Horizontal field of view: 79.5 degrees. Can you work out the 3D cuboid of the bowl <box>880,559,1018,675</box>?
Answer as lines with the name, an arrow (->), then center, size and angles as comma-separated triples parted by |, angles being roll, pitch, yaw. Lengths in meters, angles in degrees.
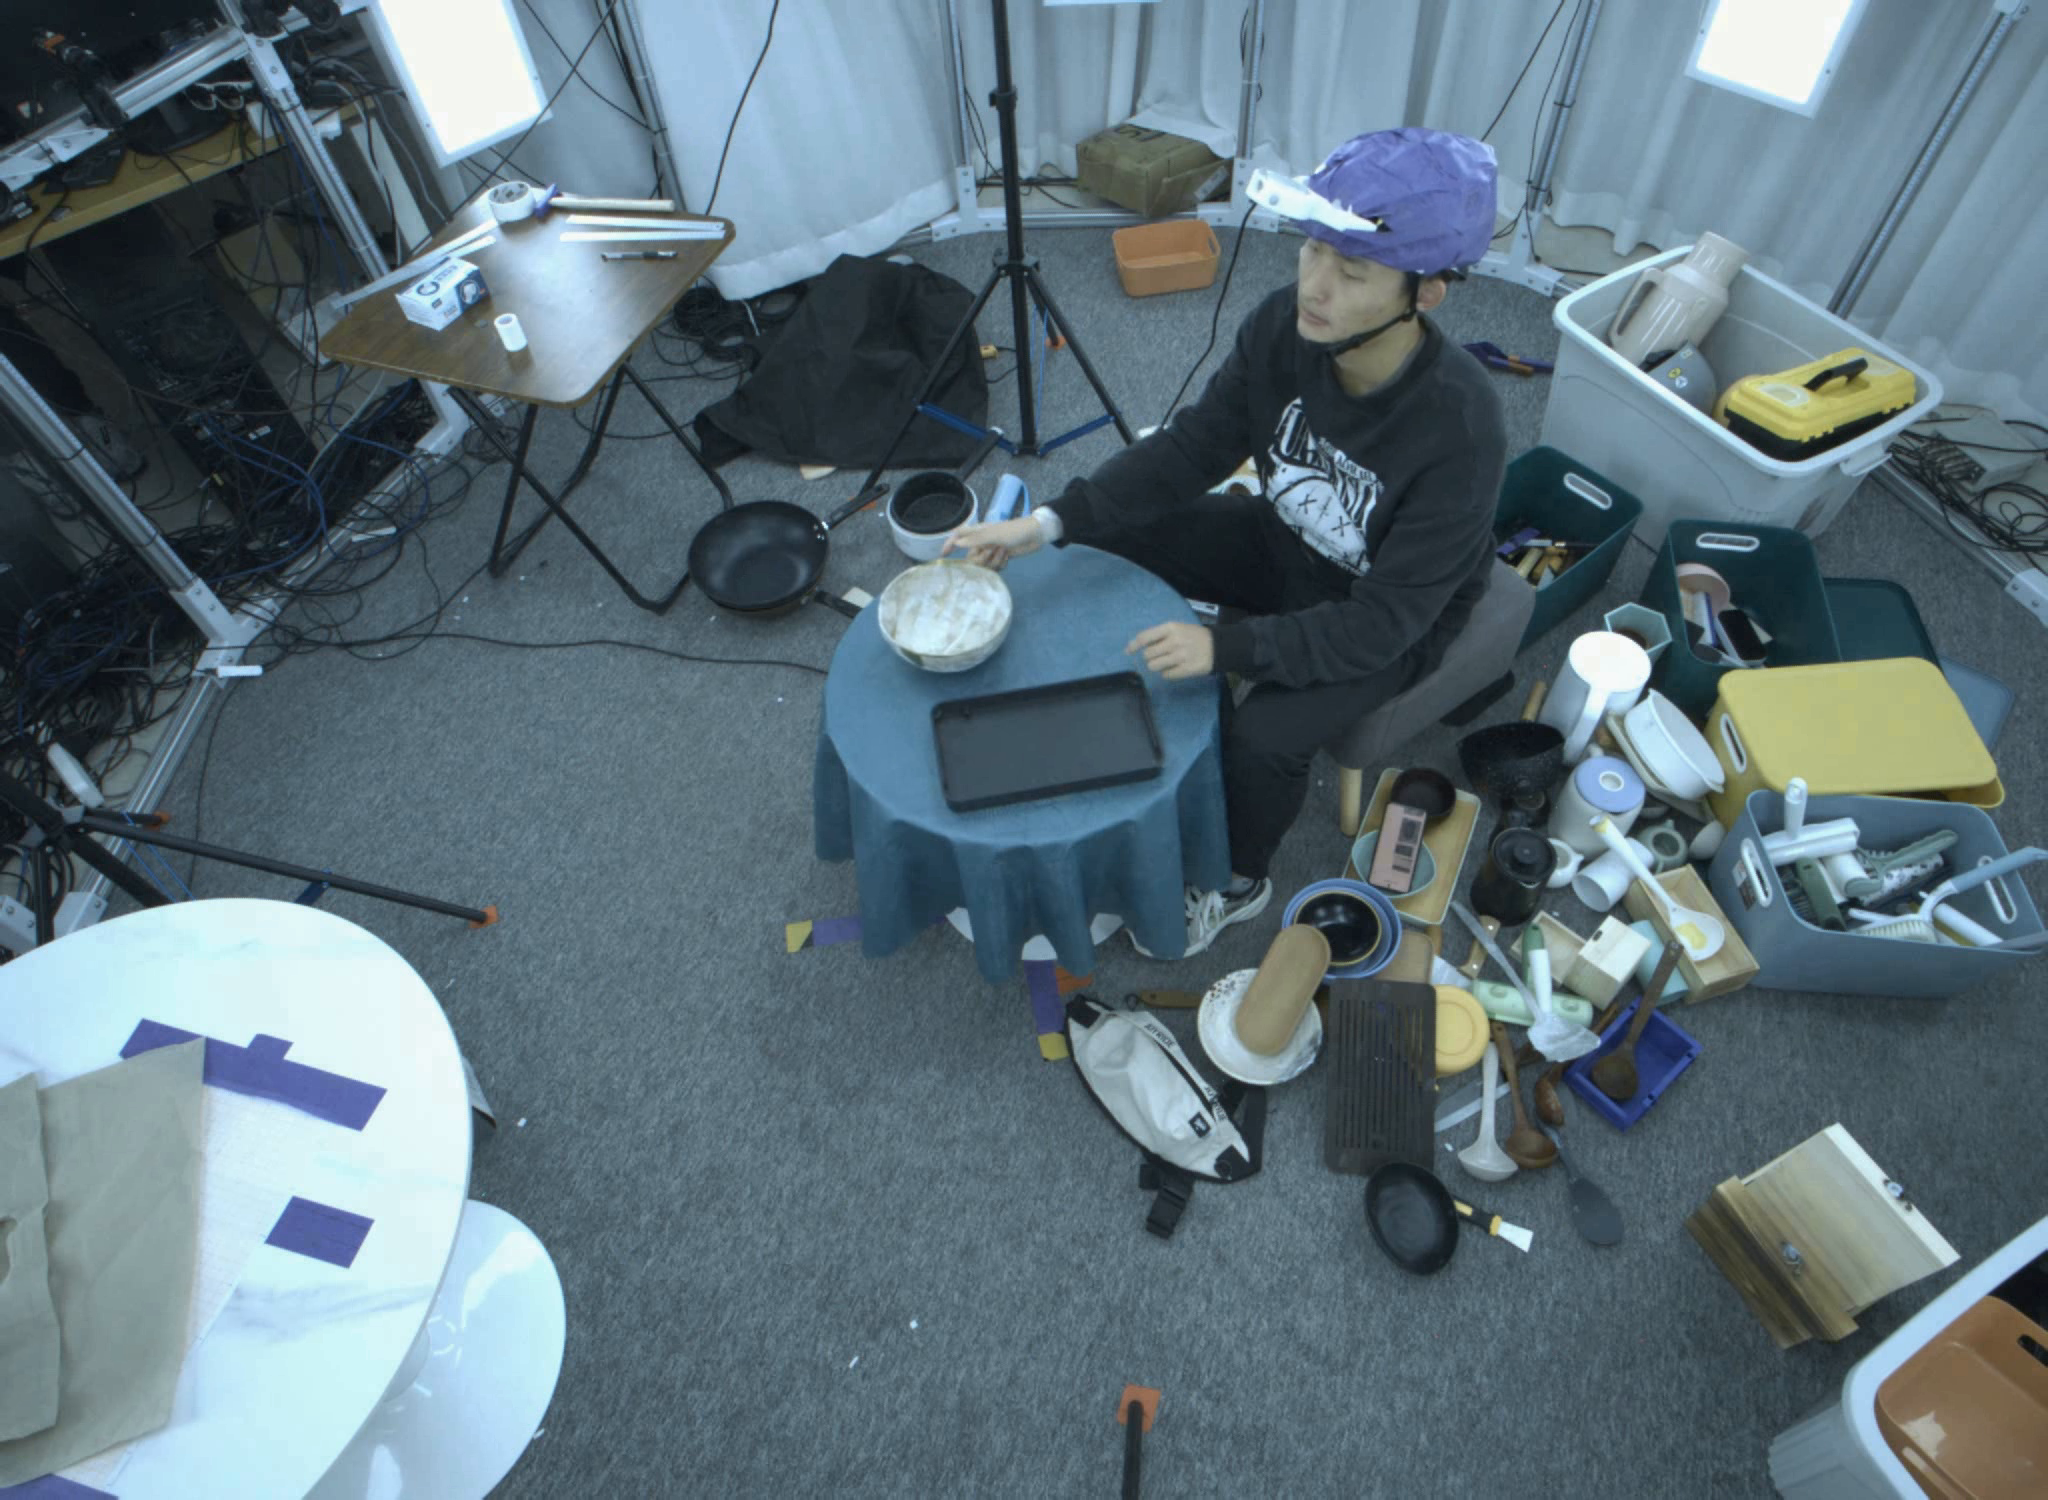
bowl -> -0.111, -0.185, 1.874 | 0.214, 0.095, 0.212 | -1, 54, 2

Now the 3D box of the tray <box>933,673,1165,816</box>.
tray -> 0.034, -0.010, 1.785 | 0.319, 0.037, 0.182 | -9, 56, -3
